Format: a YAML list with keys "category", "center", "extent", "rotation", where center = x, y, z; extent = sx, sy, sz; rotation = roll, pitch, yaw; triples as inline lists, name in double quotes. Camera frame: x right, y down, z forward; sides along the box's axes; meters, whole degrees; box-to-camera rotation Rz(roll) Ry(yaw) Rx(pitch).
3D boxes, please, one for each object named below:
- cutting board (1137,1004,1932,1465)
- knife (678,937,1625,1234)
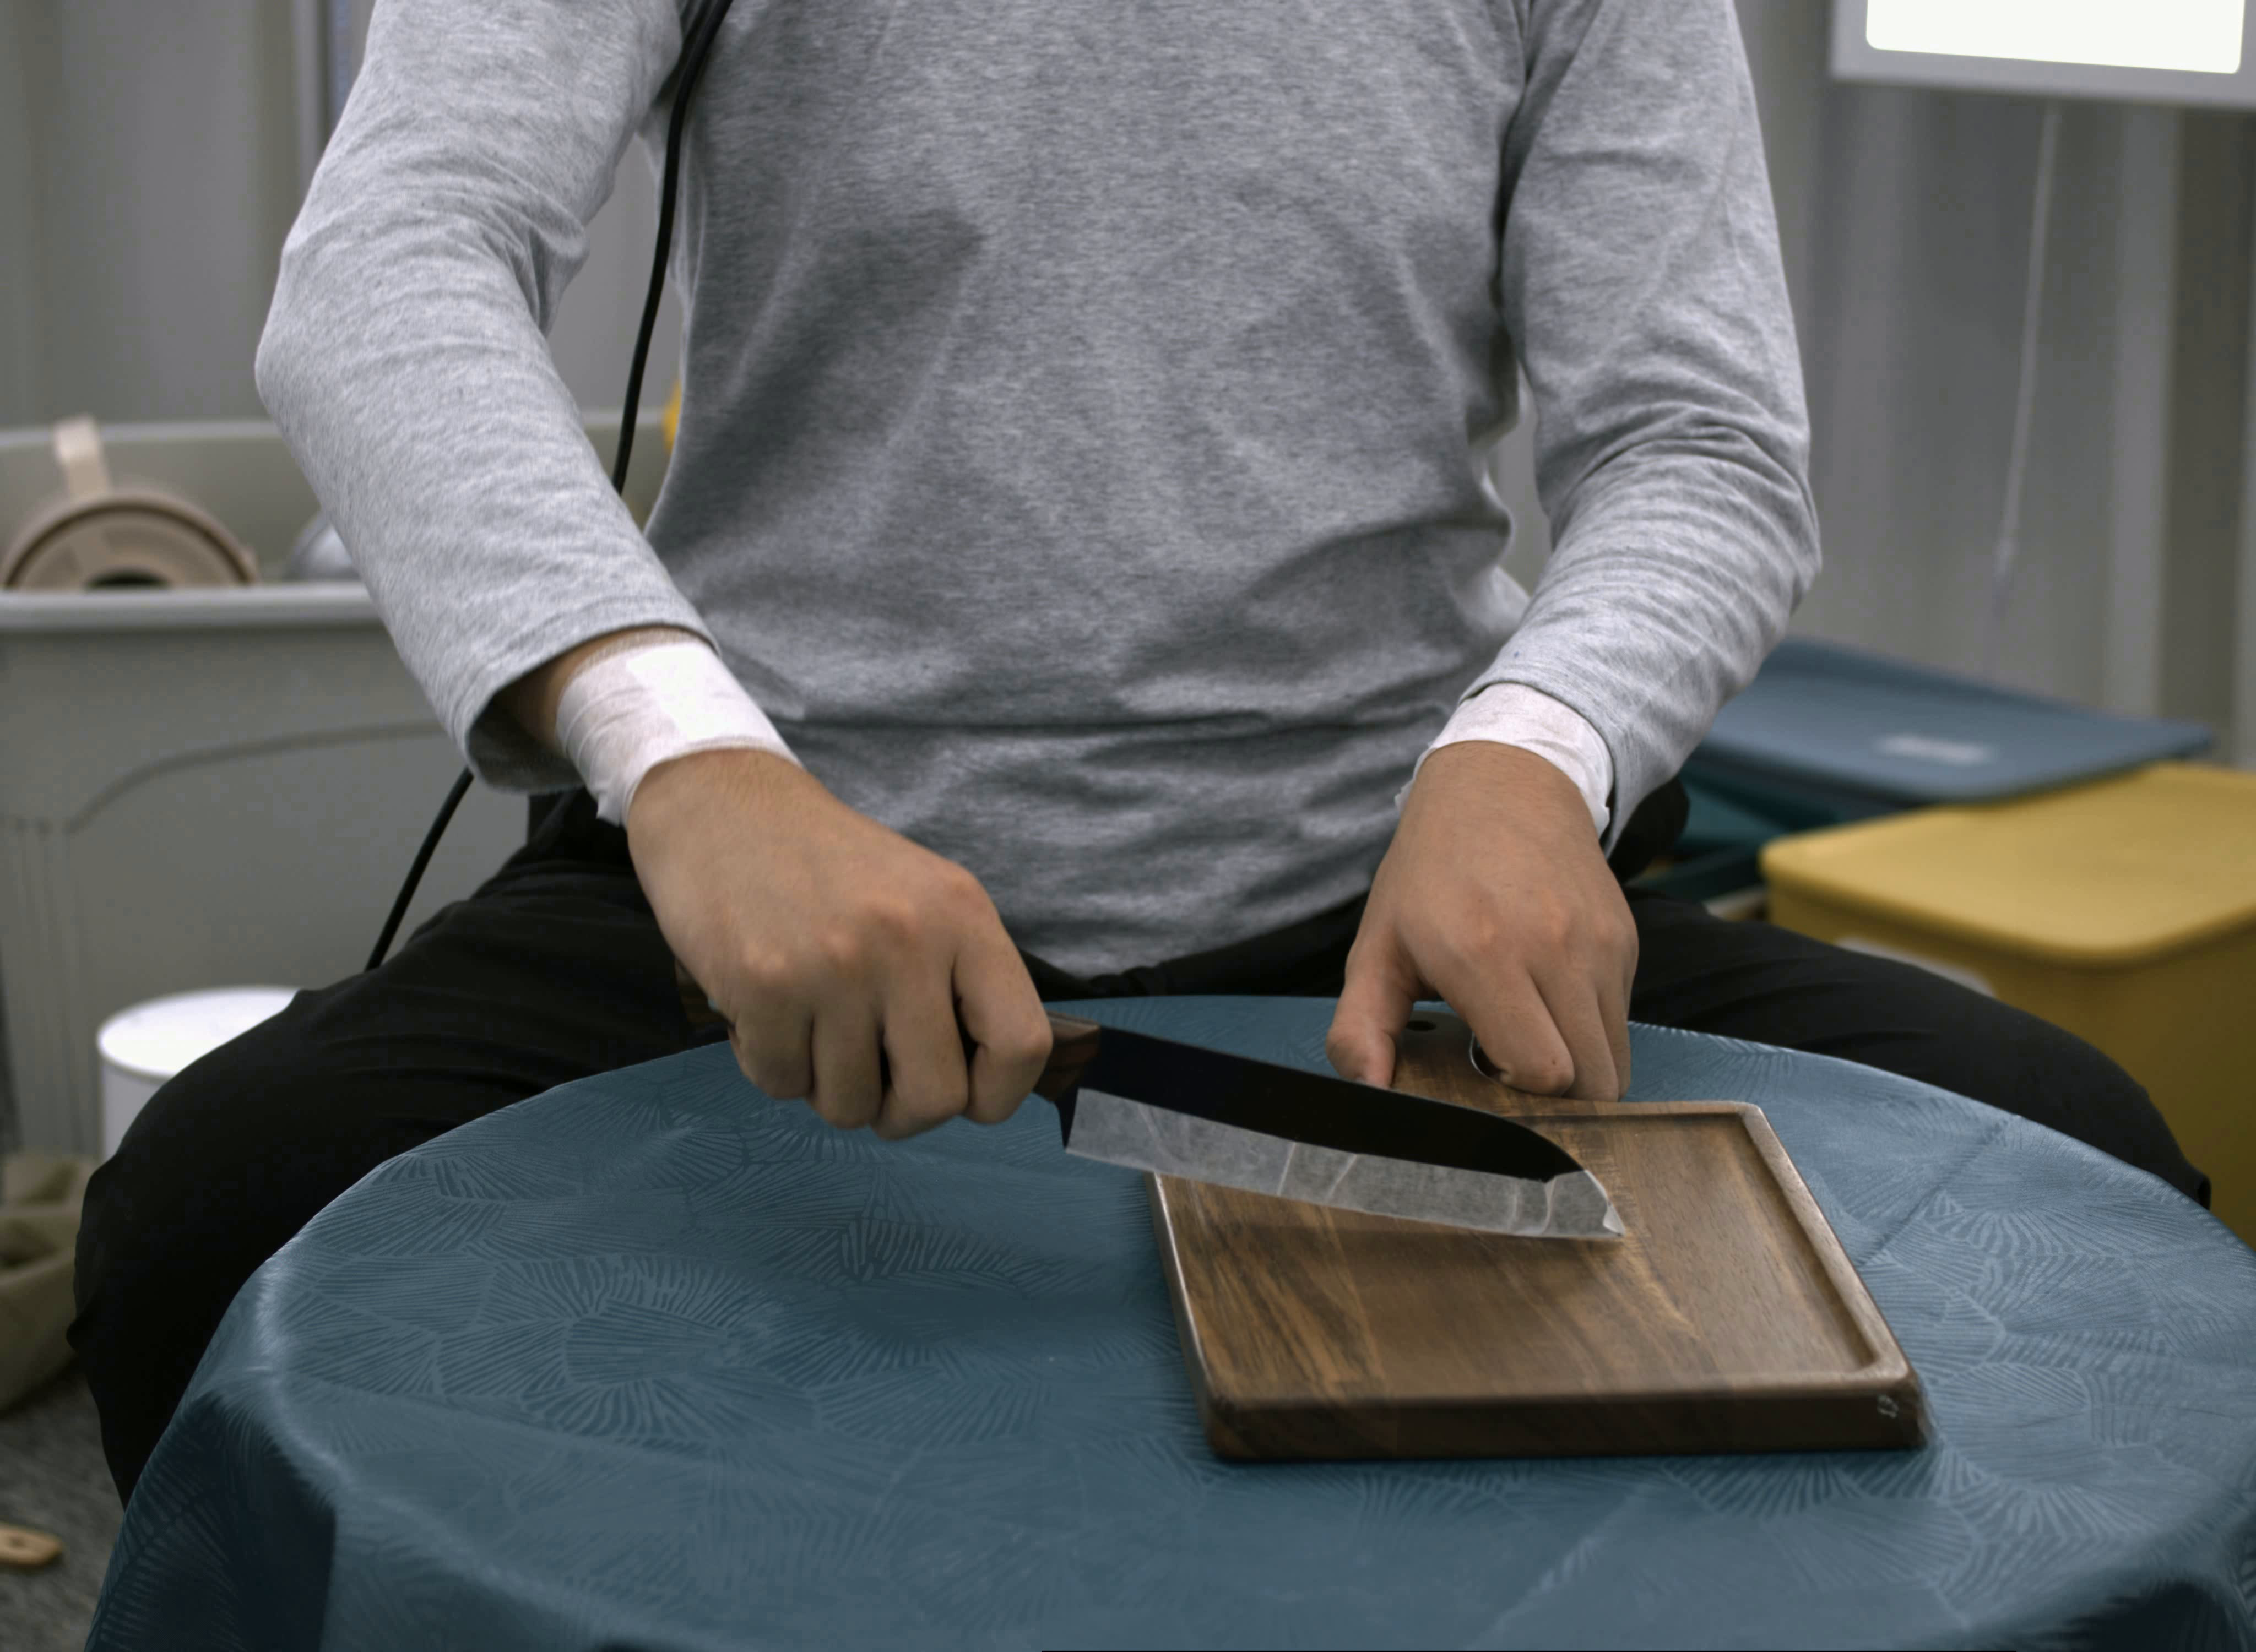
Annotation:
- category: "cutting board"
  center: [0.107, 0.115, 1.581]
  extent: [0.201, 0.023, 0.350]
  rotation: [0, 15, -5]
- category: "knife"
  center: [0.007, 0.077, 1.541]
  extent: [0.288, 0.050, 0.020]
  rotation: [15, 27, 2]
